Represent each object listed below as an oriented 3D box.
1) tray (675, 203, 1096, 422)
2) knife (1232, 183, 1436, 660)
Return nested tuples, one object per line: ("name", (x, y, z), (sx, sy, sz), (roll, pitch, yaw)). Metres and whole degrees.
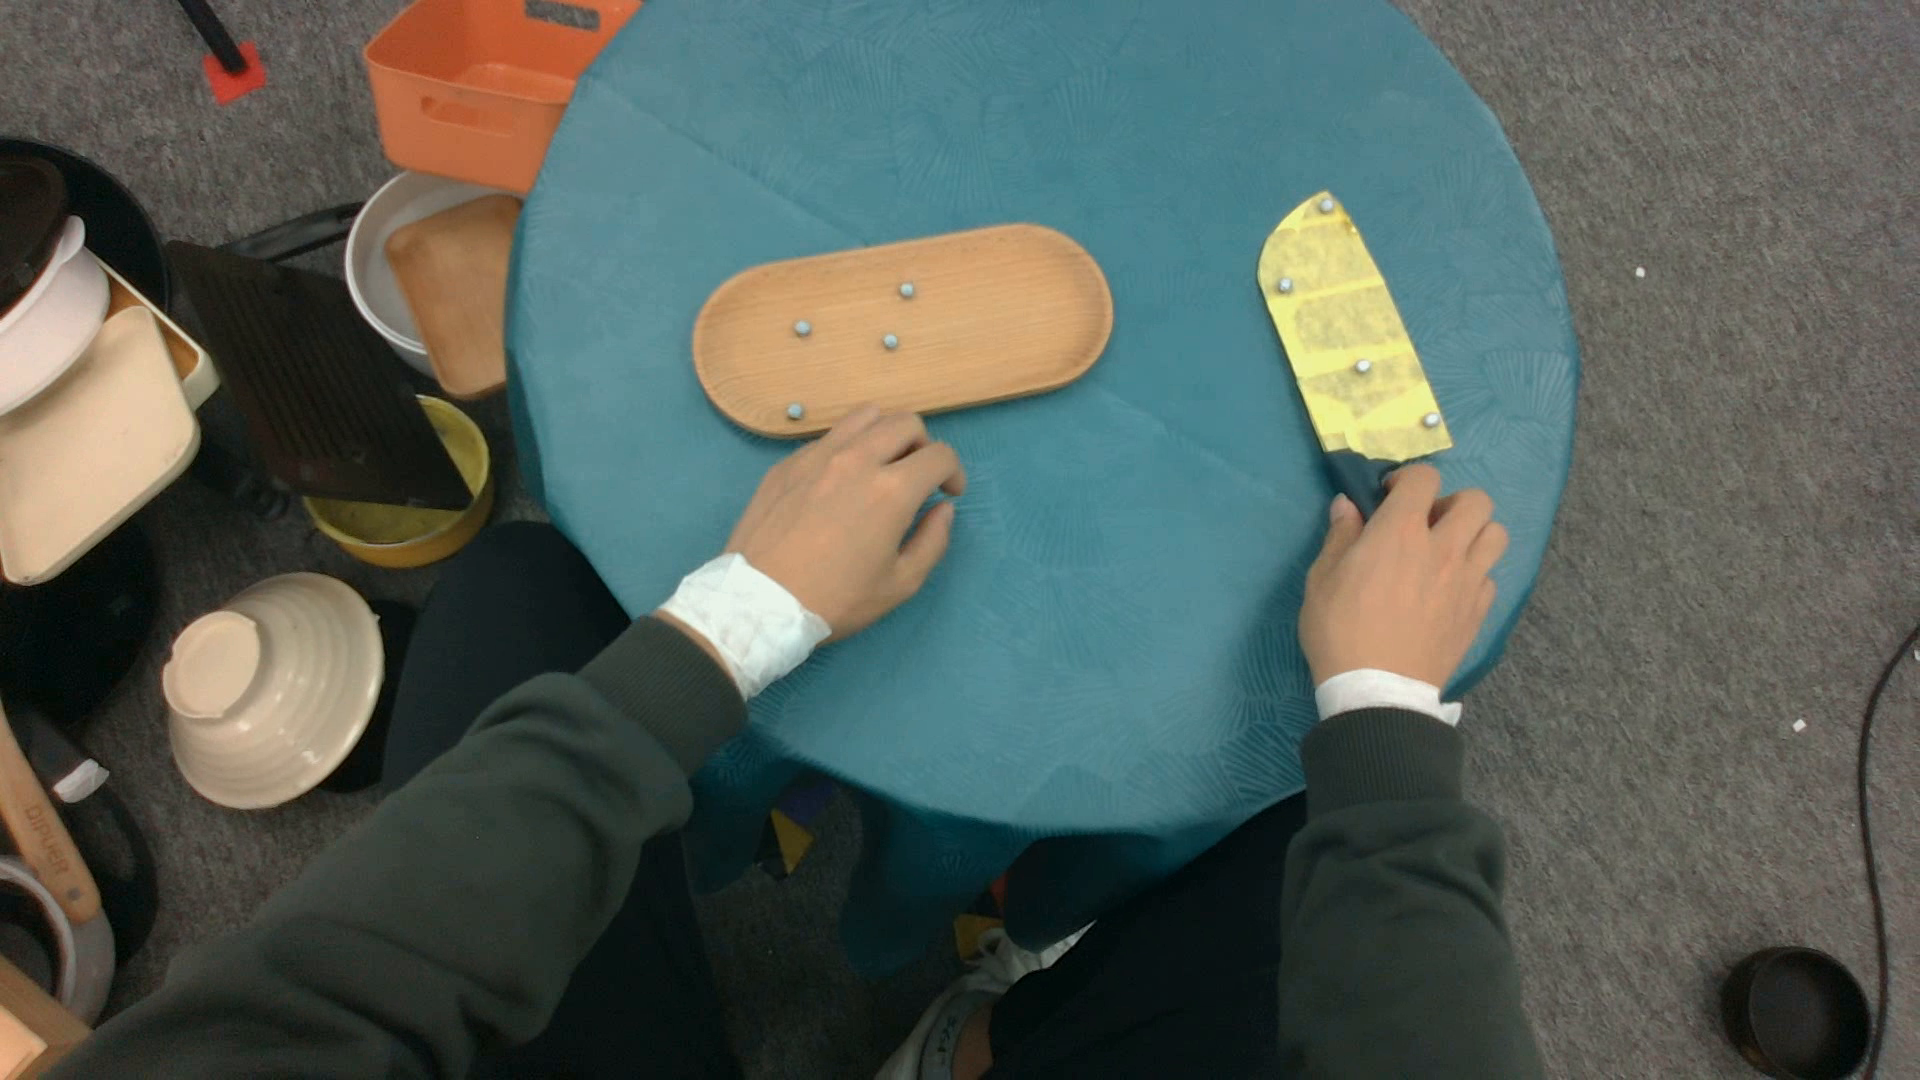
("tray", (-0.038, -0.124, 0.748), (0.231, 0.020, 0.102), (-12, 77, -13))
("knife", (0.218, -0.075, 0.769), (0.081, 0.027, 0.290), (-11, 74, -9))
